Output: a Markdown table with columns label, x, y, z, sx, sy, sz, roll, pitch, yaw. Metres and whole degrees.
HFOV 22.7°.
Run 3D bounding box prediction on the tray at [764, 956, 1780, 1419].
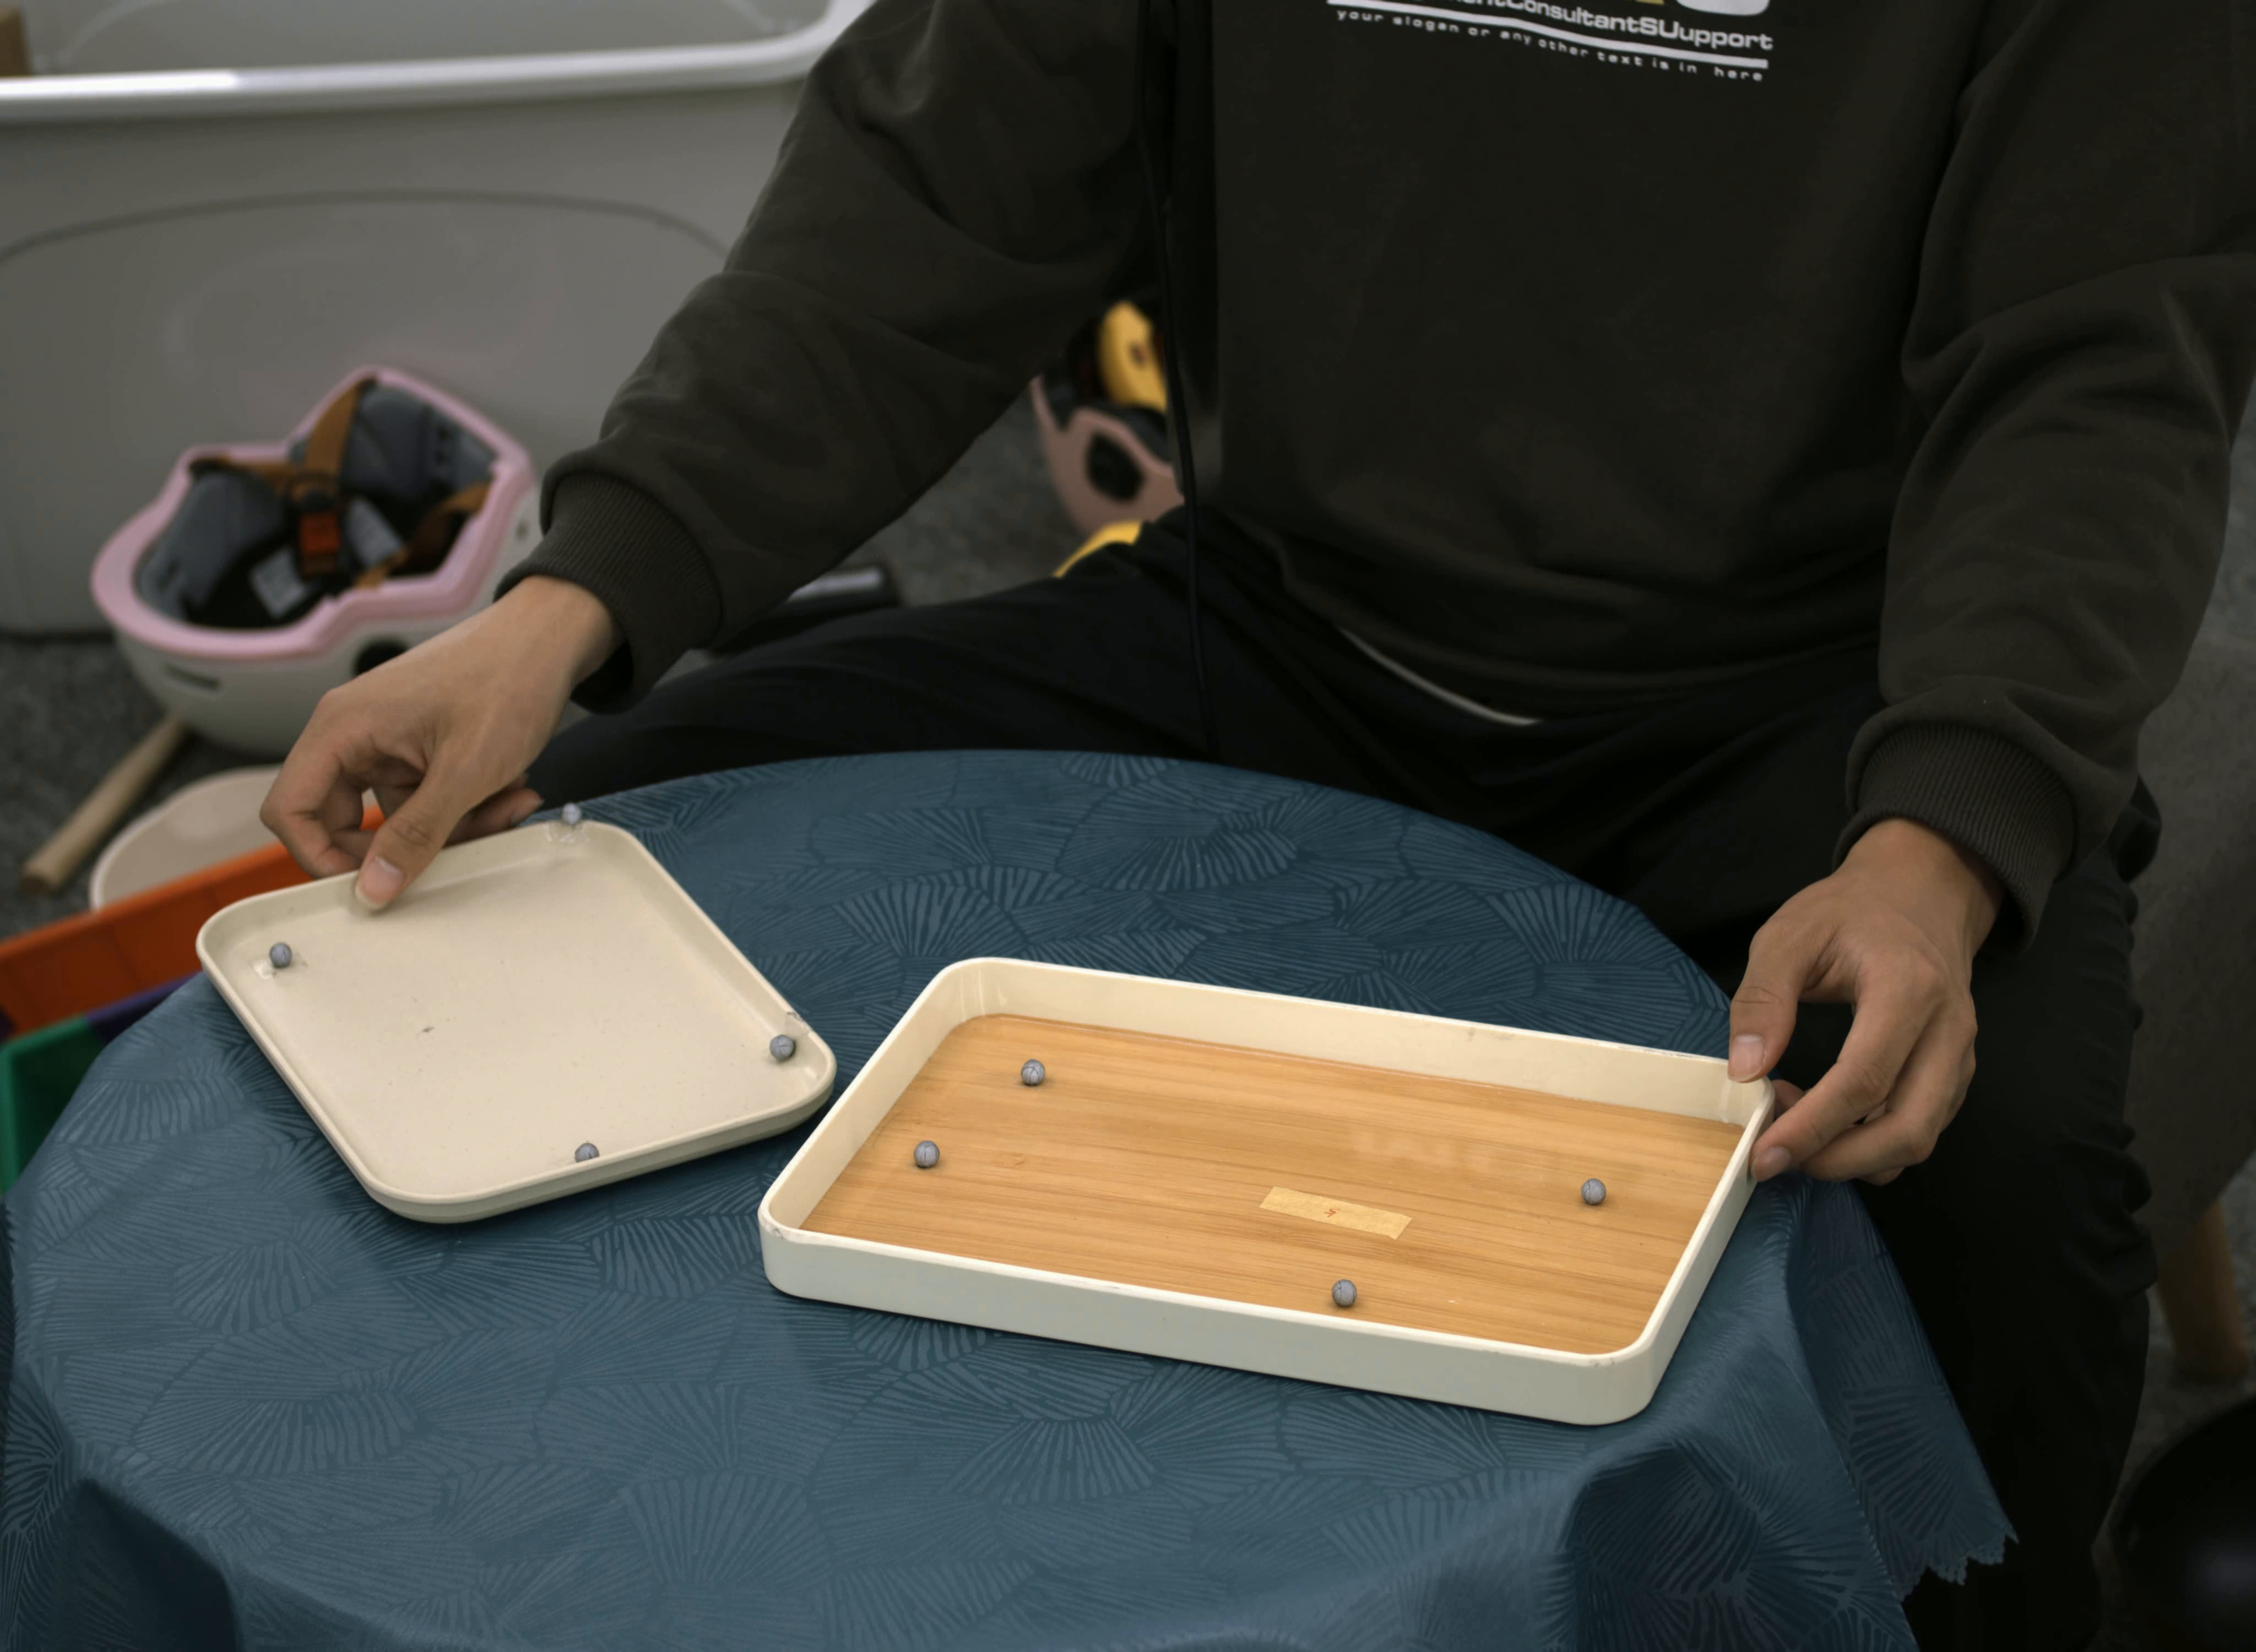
| label | x | y | z | sx | sy | sz | roll | pitch | yaw |
| --- | --- | --- | --- | --- | --- | --- | --- | --- | --- |
| tray | 0.049 | 0.115 | 1.845 | 0.298 | 0.027 | 0.195 | 8 | 29 | 18 |

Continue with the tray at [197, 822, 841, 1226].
| label | x | y | z | sx | sy | sz | roll | pitch | yaw |
| --- | --- | --- | --- | --- | --- | --- | --- | --- | --- |
| tray | -0.215 | 0.068 | 1.968 | 0.172 | 0.017 | 0.241 | -15 | 30 | -22 |
